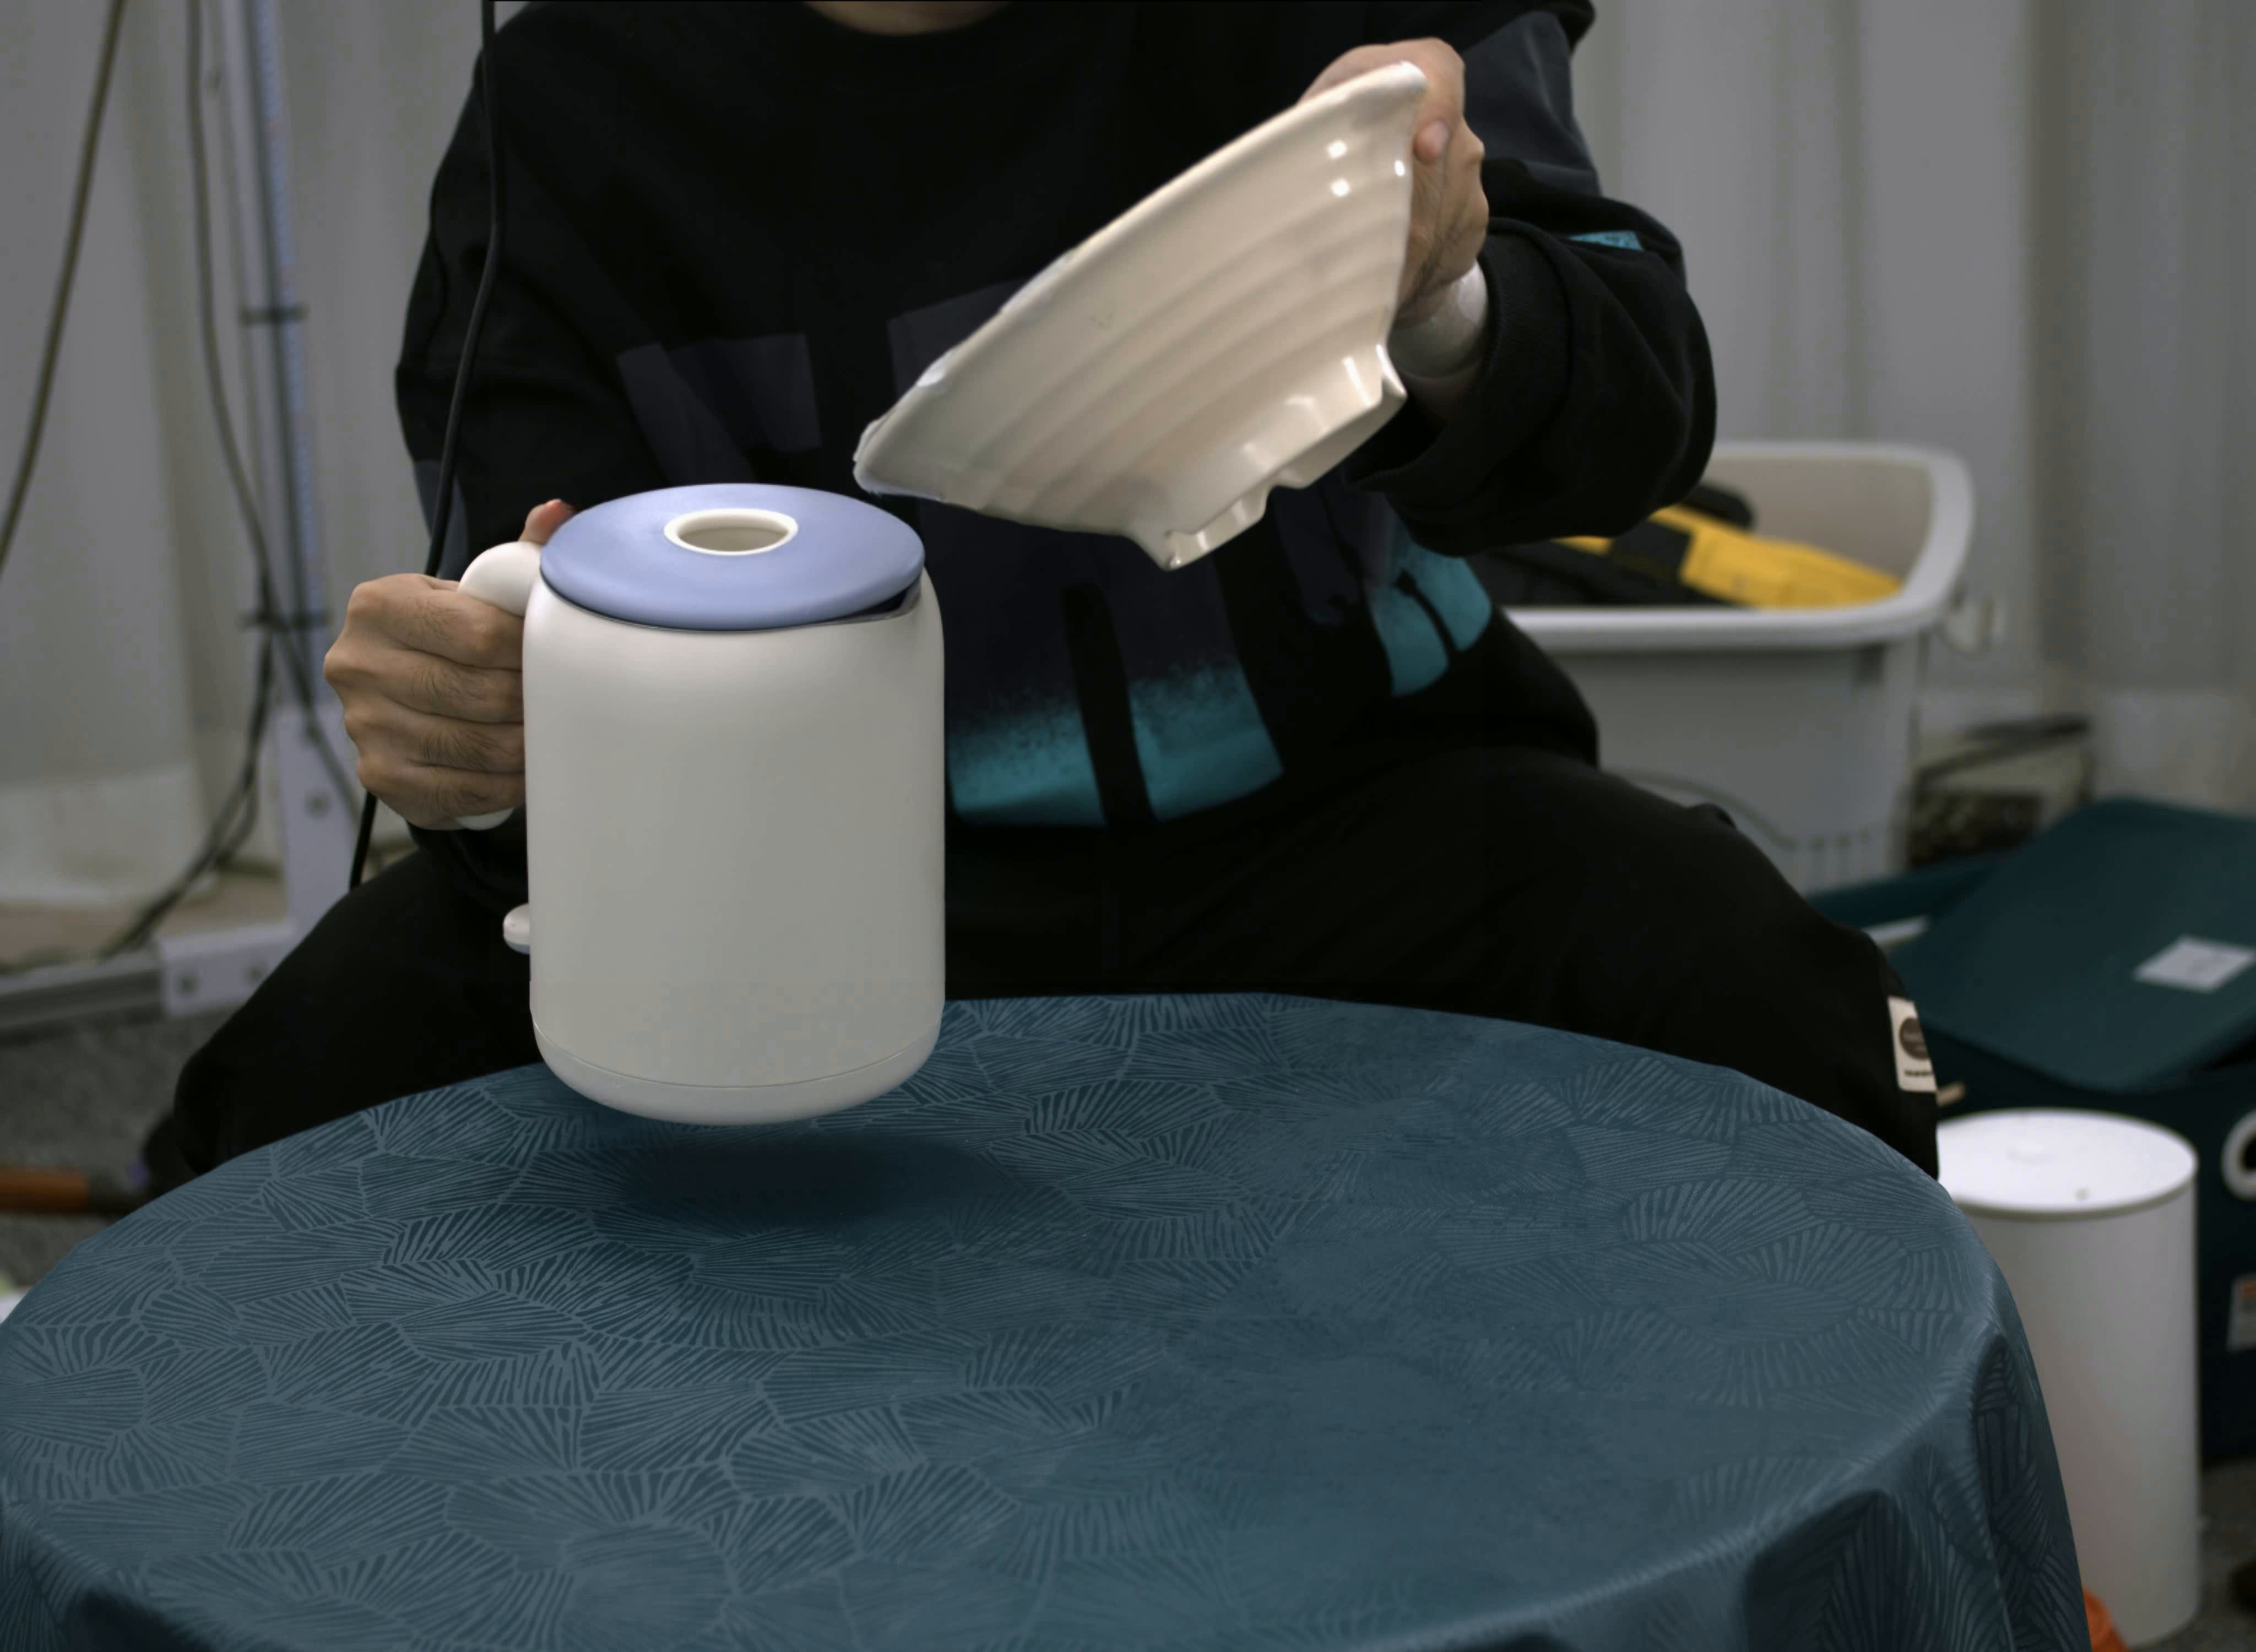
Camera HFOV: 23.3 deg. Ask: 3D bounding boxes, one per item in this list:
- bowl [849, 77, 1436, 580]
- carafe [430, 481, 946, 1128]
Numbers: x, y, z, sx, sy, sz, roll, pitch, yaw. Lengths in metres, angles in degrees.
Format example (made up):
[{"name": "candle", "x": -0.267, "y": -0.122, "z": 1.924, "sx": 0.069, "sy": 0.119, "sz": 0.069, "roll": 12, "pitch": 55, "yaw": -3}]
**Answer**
[{"name": "bowl", "x": 0.024, "y": -0.128, "z": 1.592, "sx": 0.204, "sy": 0.078, "sz": 0.203, "roll": -33, "pitch": -6, "yaw": -5}, {"name": "carafe", "x": -0.143, "y": -0.012, "z": 1.722, "sx": 0.192, "sy": 0.181, "sz": 0.132, "roll": 12, "pitch": 23, "yaw": 32}]
